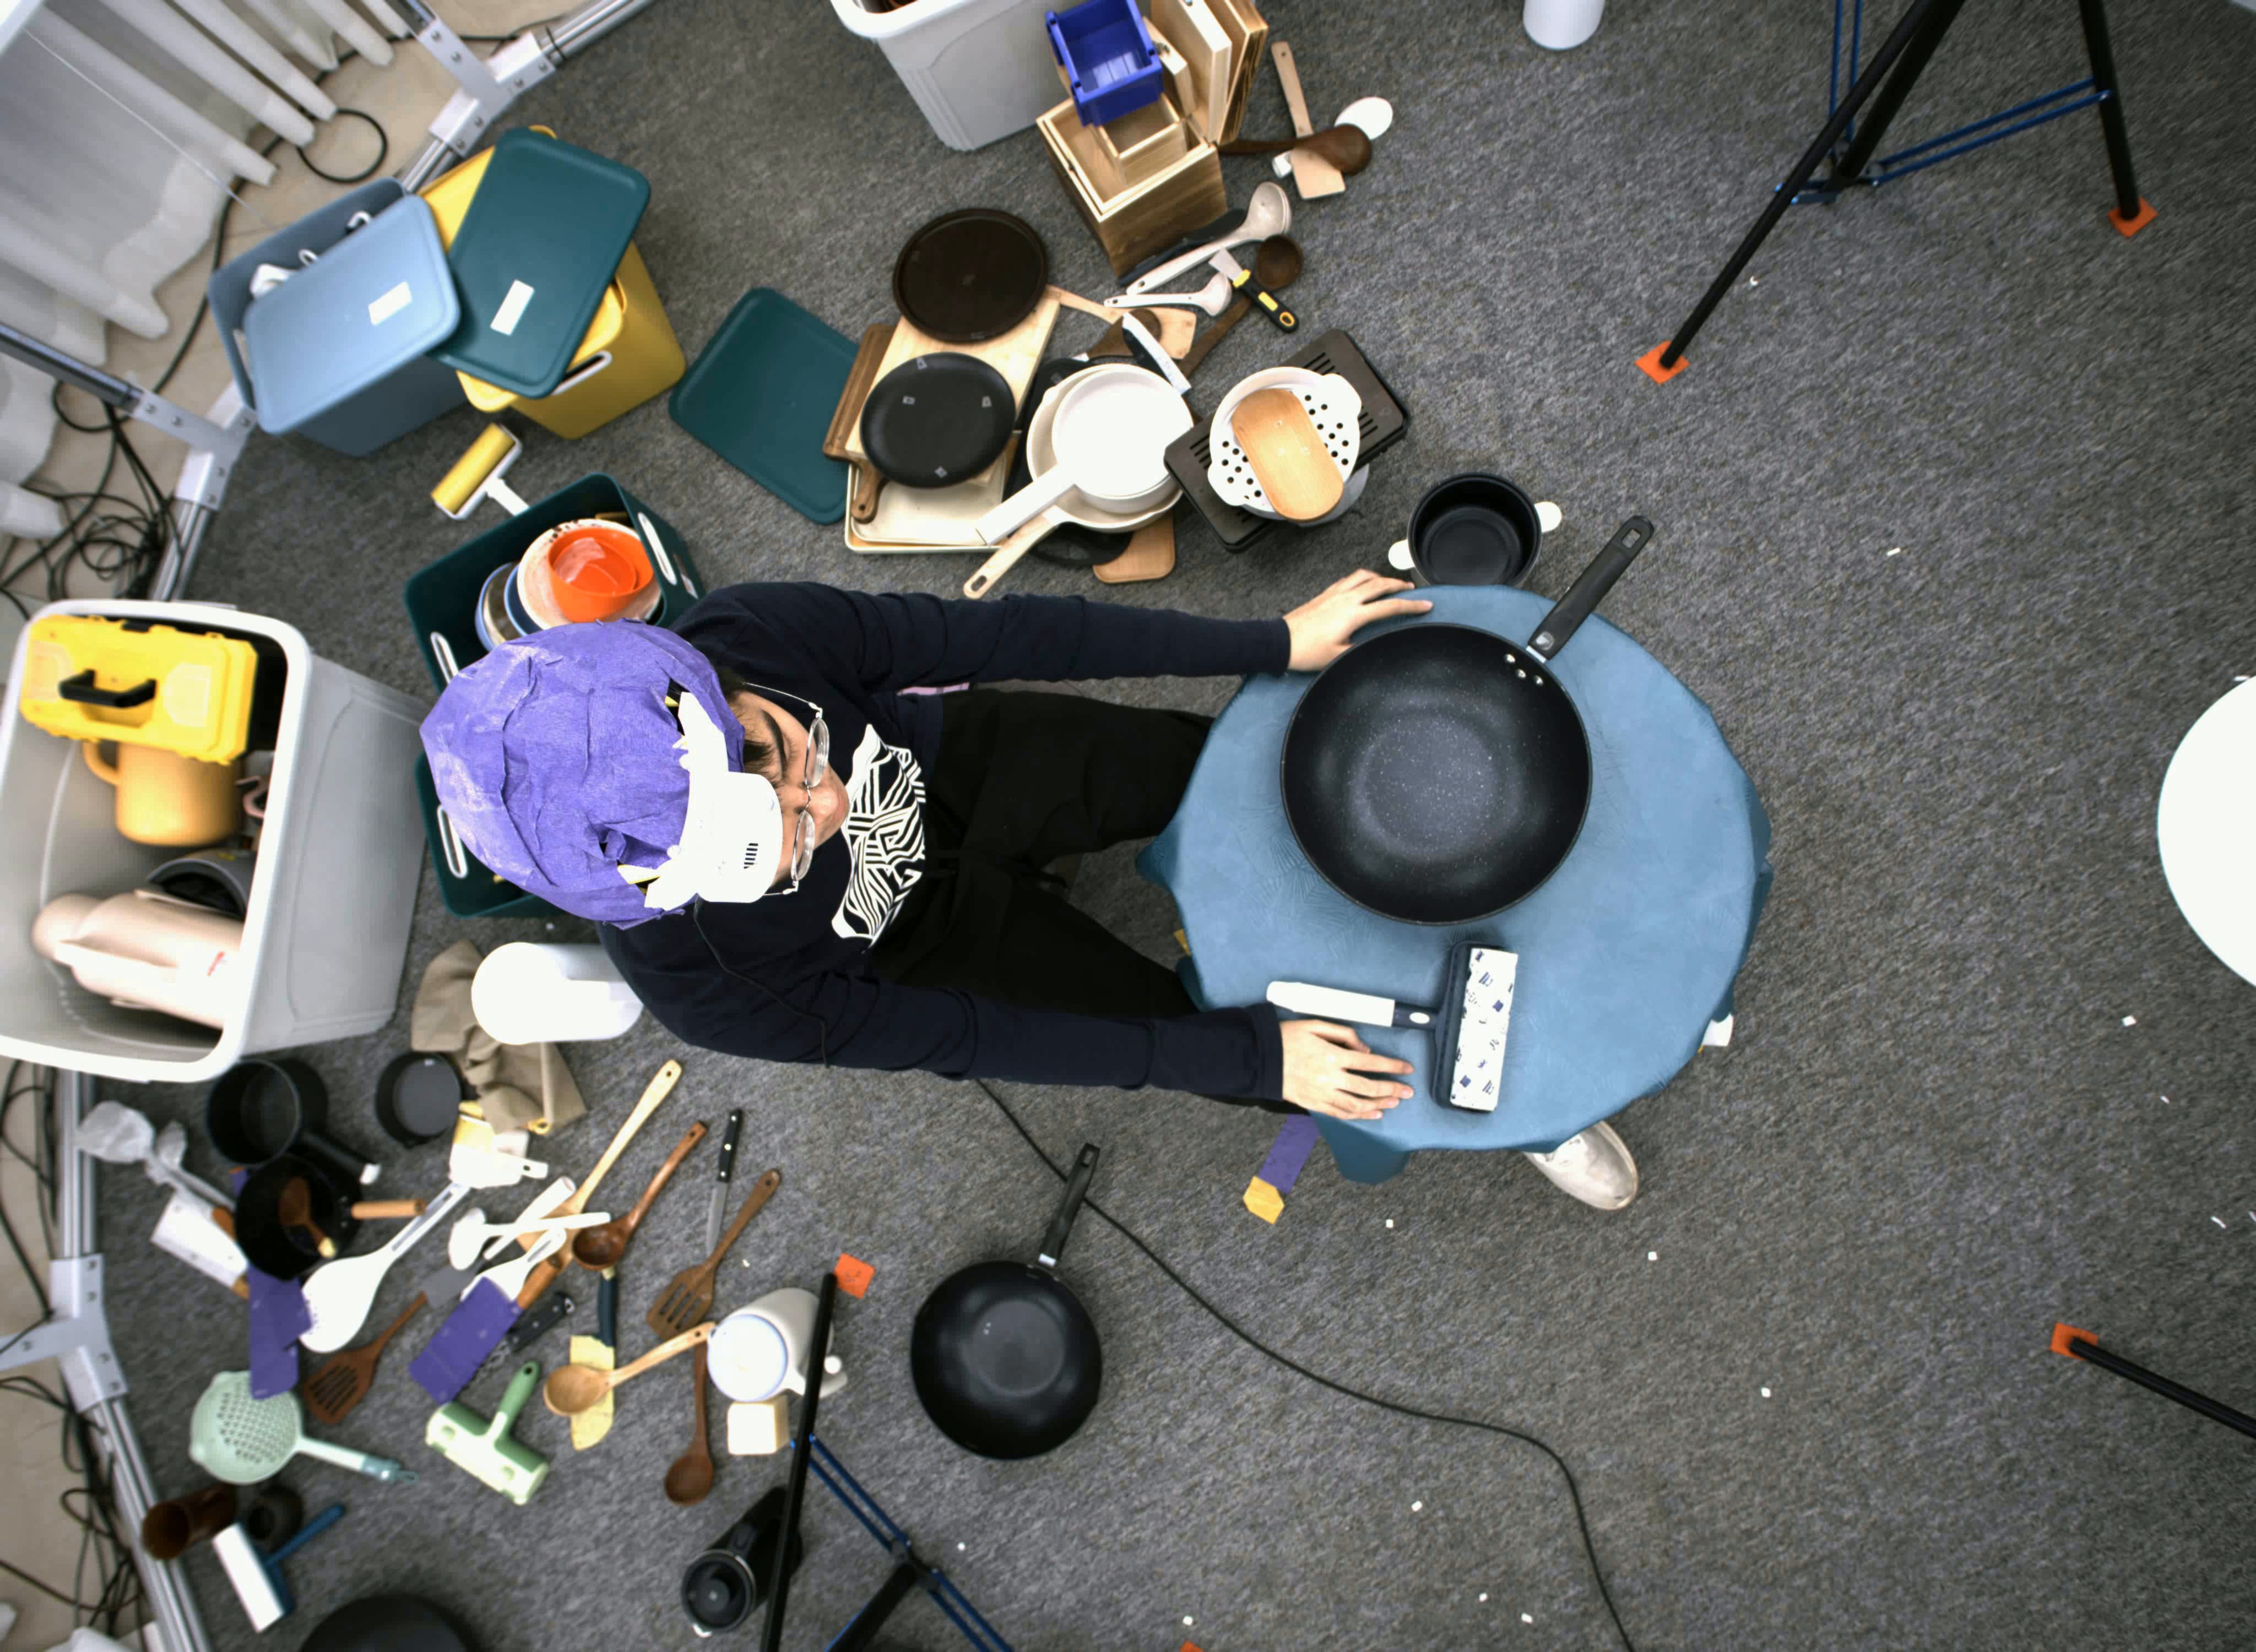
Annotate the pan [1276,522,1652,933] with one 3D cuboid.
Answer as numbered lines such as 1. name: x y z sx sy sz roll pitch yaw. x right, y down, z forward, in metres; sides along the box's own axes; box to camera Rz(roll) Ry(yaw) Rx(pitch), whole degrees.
1. pan: 0.362 -0.111 1.398 0.309 0.111 0.479 40 95 9

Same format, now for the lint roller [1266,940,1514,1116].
1. lint roller: 0.265 0.193 1.433 0.248 0.050 0.176 7 89 14
